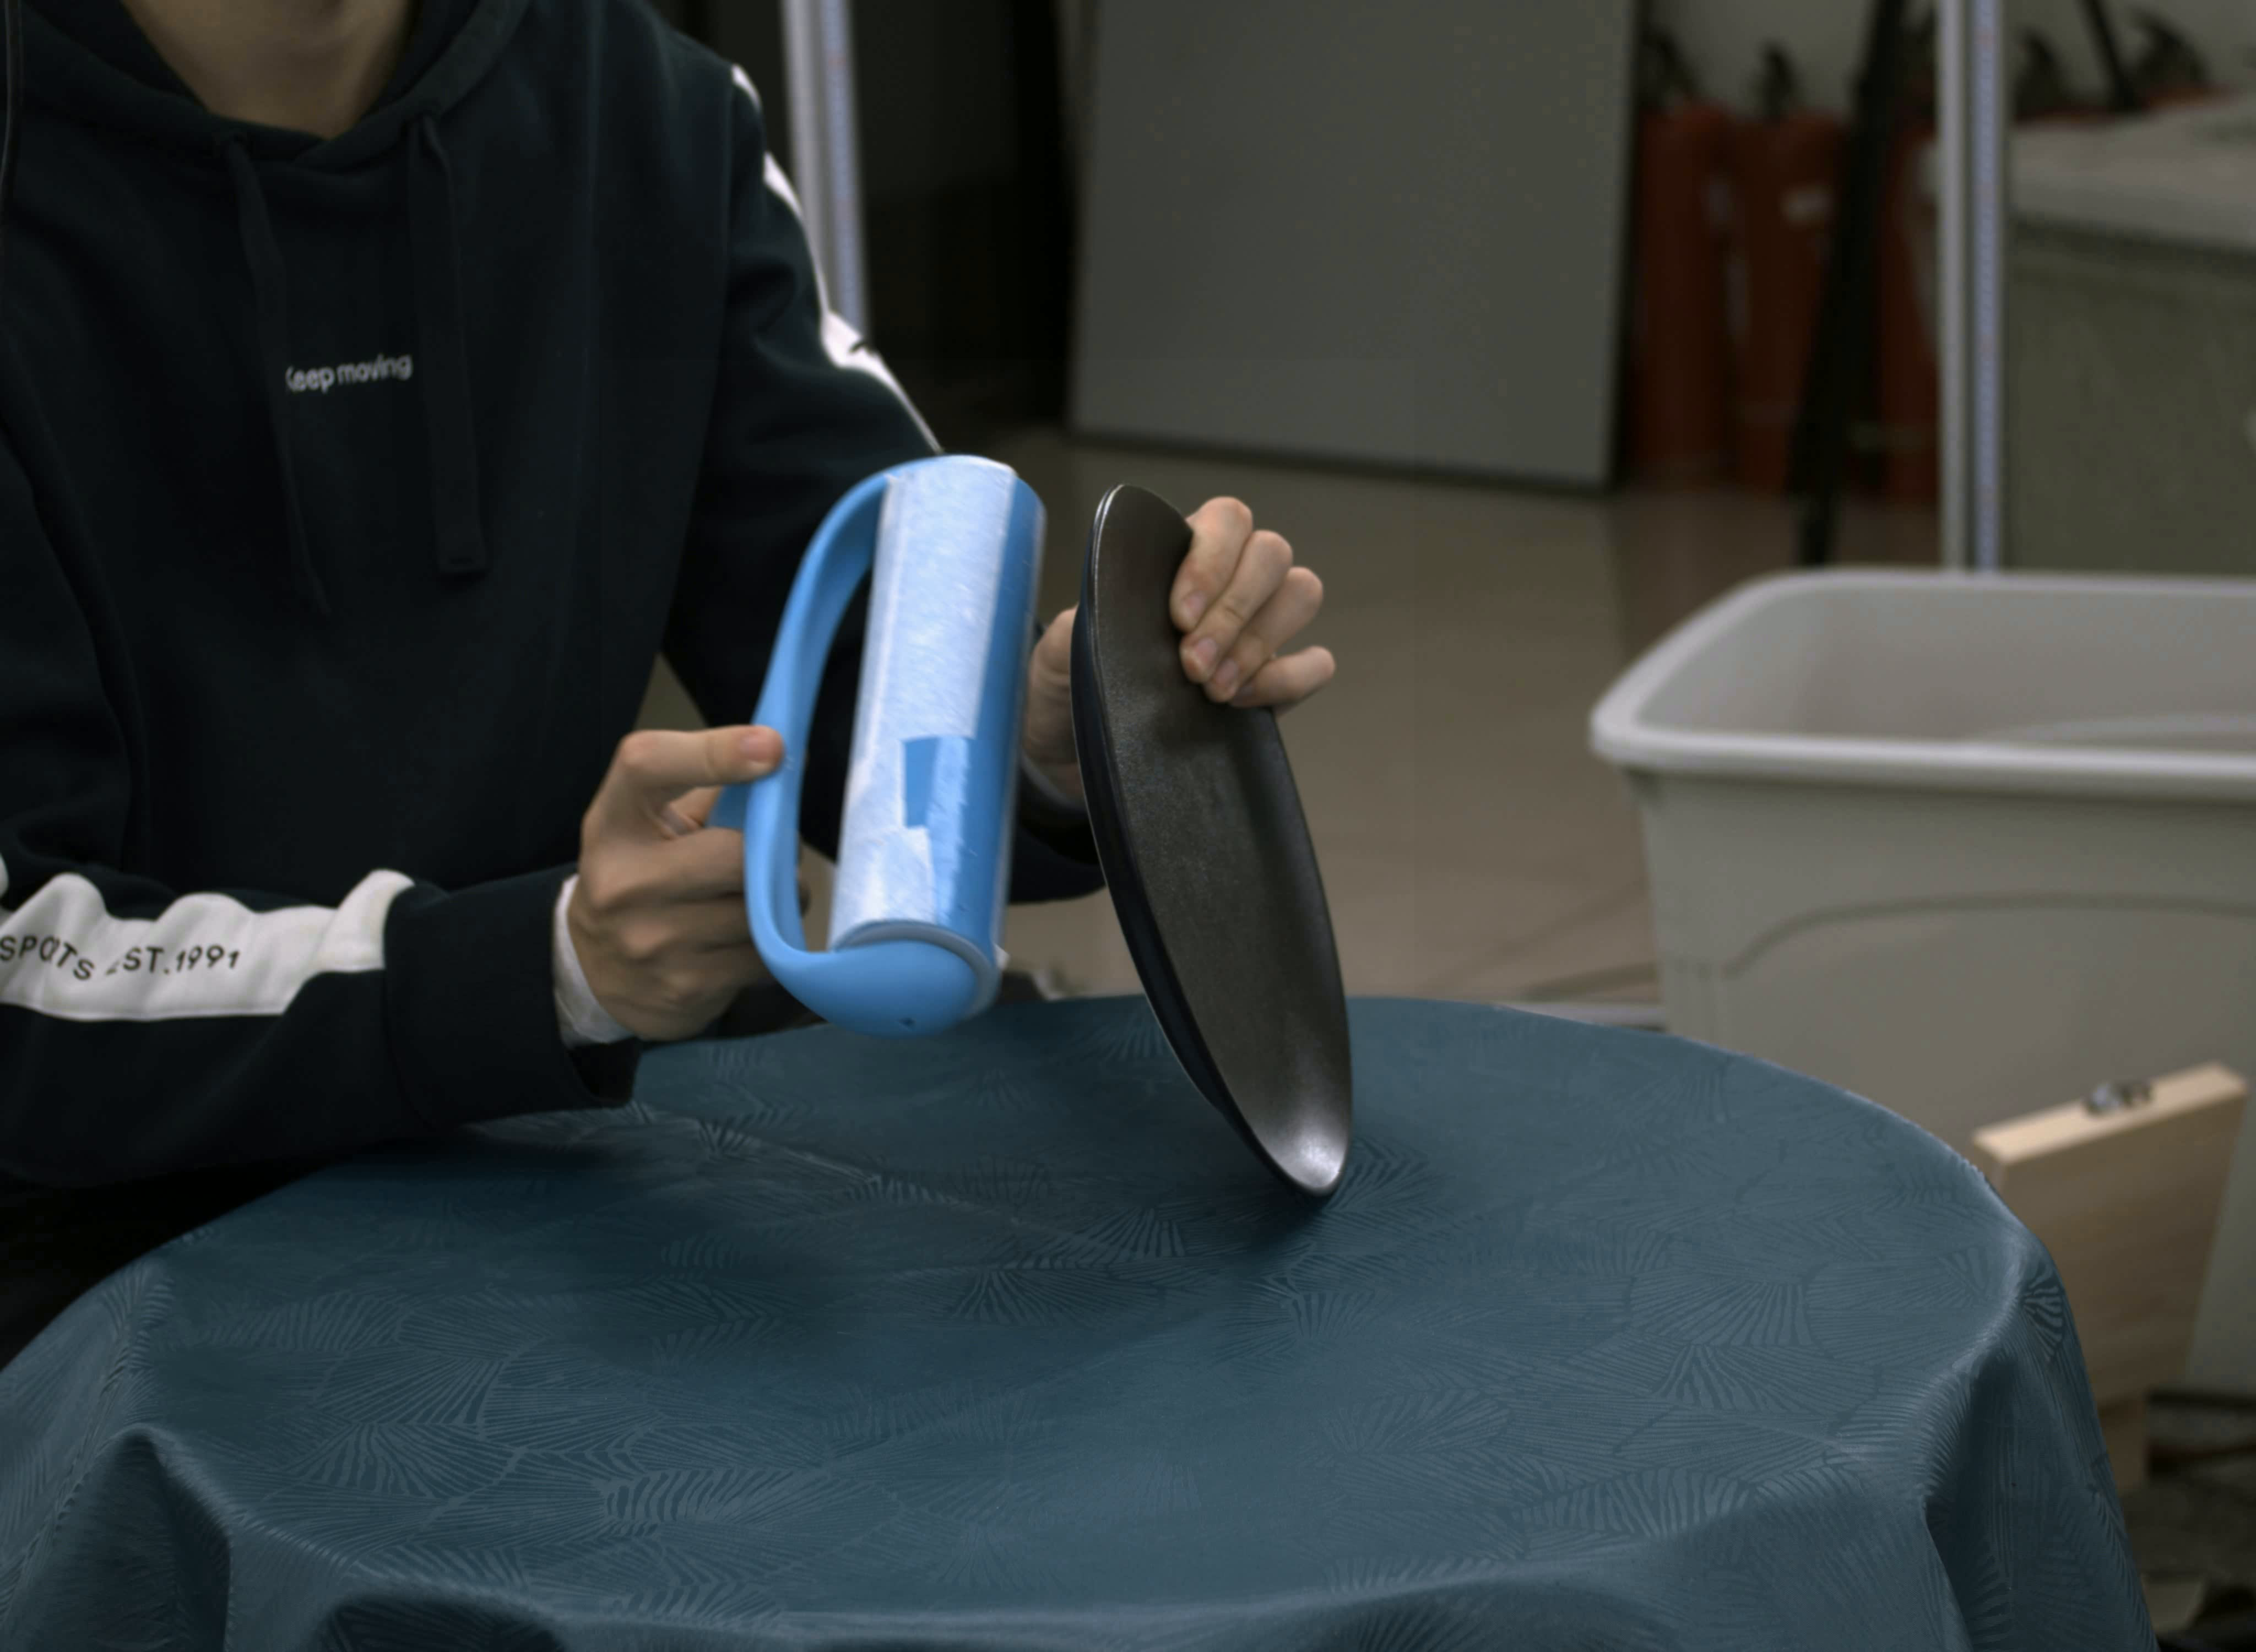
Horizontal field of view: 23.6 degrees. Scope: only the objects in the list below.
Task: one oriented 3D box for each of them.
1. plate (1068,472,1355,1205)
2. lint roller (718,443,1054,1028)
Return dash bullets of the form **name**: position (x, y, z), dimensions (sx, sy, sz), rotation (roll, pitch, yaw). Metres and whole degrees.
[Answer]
- **plate**: position (0.023, 0.006, 1.751), dimensions (0.023, 0.246, 0.243), rotation (-16, 10, 14)
- **lint roller**: position (-0.094, -0.001, 1.733), dimensions (0.067, 0.182, 0.231), rotation (28, 42, -26)
